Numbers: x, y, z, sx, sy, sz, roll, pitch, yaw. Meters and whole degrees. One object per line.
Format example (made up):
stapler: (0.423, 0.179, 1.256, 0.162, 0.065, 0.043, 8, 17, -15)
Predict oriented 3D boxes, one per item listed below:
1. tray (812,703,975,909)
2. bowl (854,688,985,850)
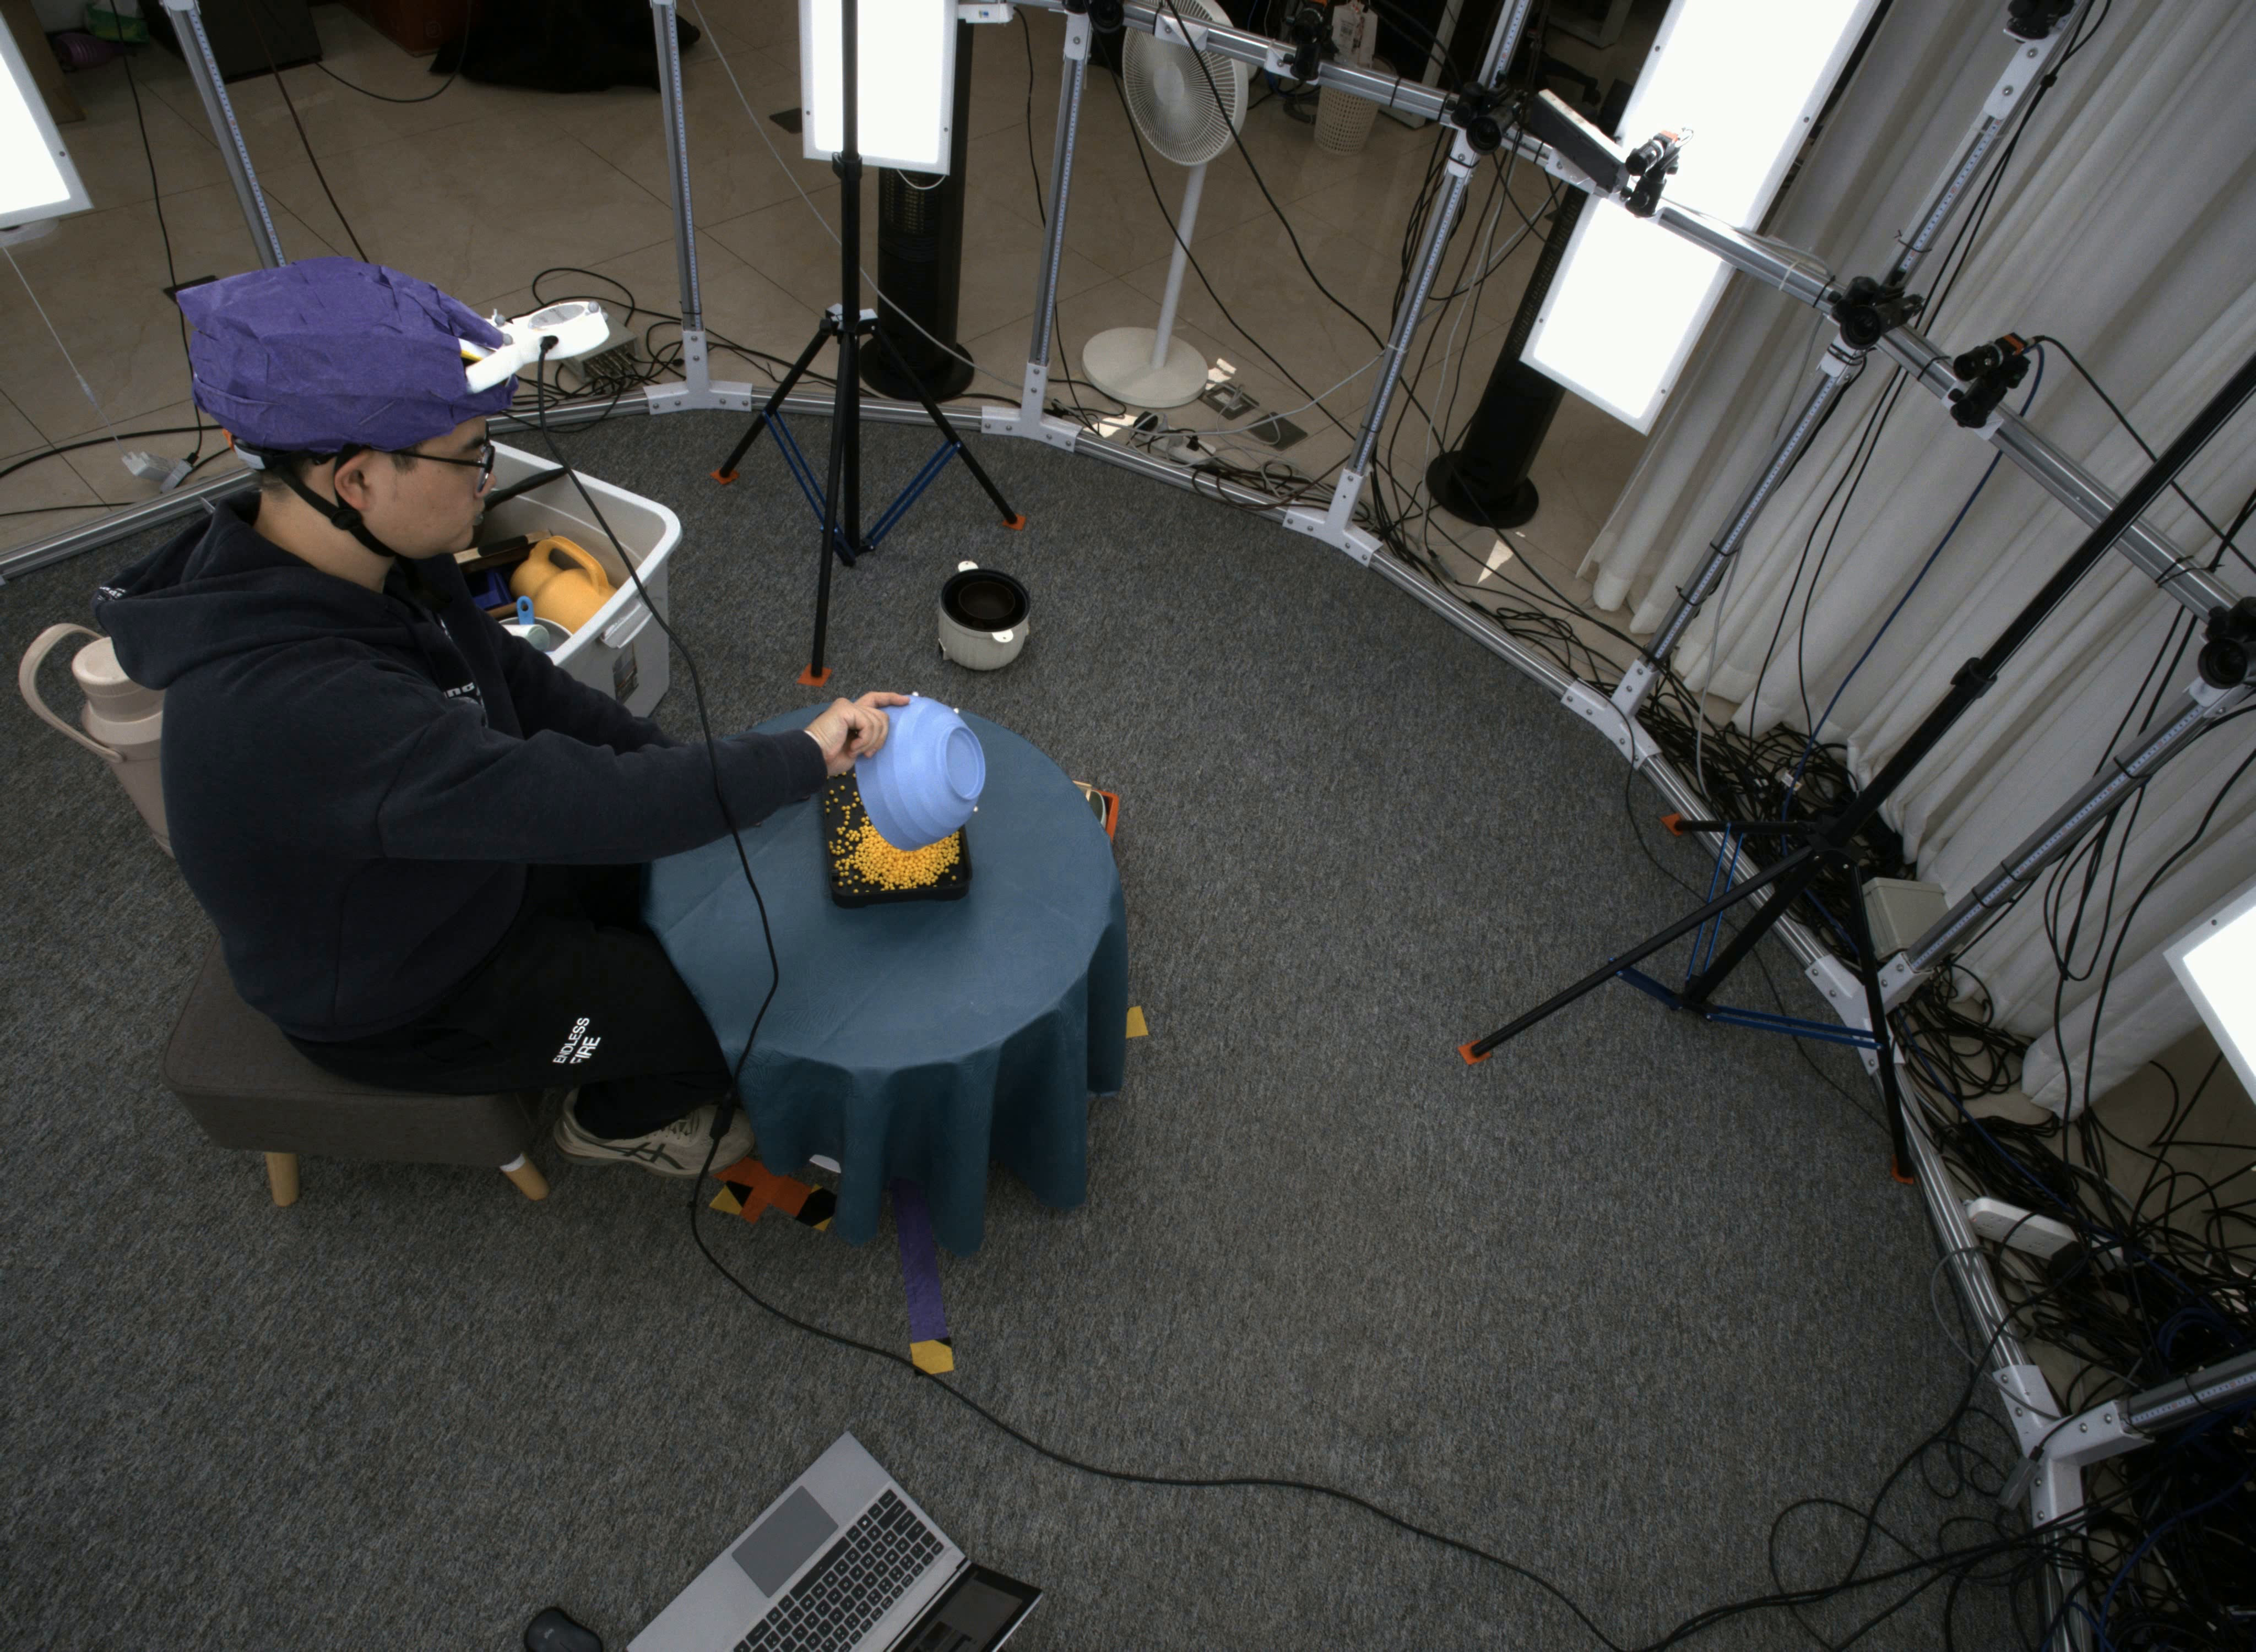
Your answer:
tray: (-0.320, -0.037, 1.752, 0.185, 0.038, 0.311, -5, 57, -17)
bowl: (-0.238, -0.075, 1.588, 0.093, 0.204, 0.194, -5, 47, 24)
